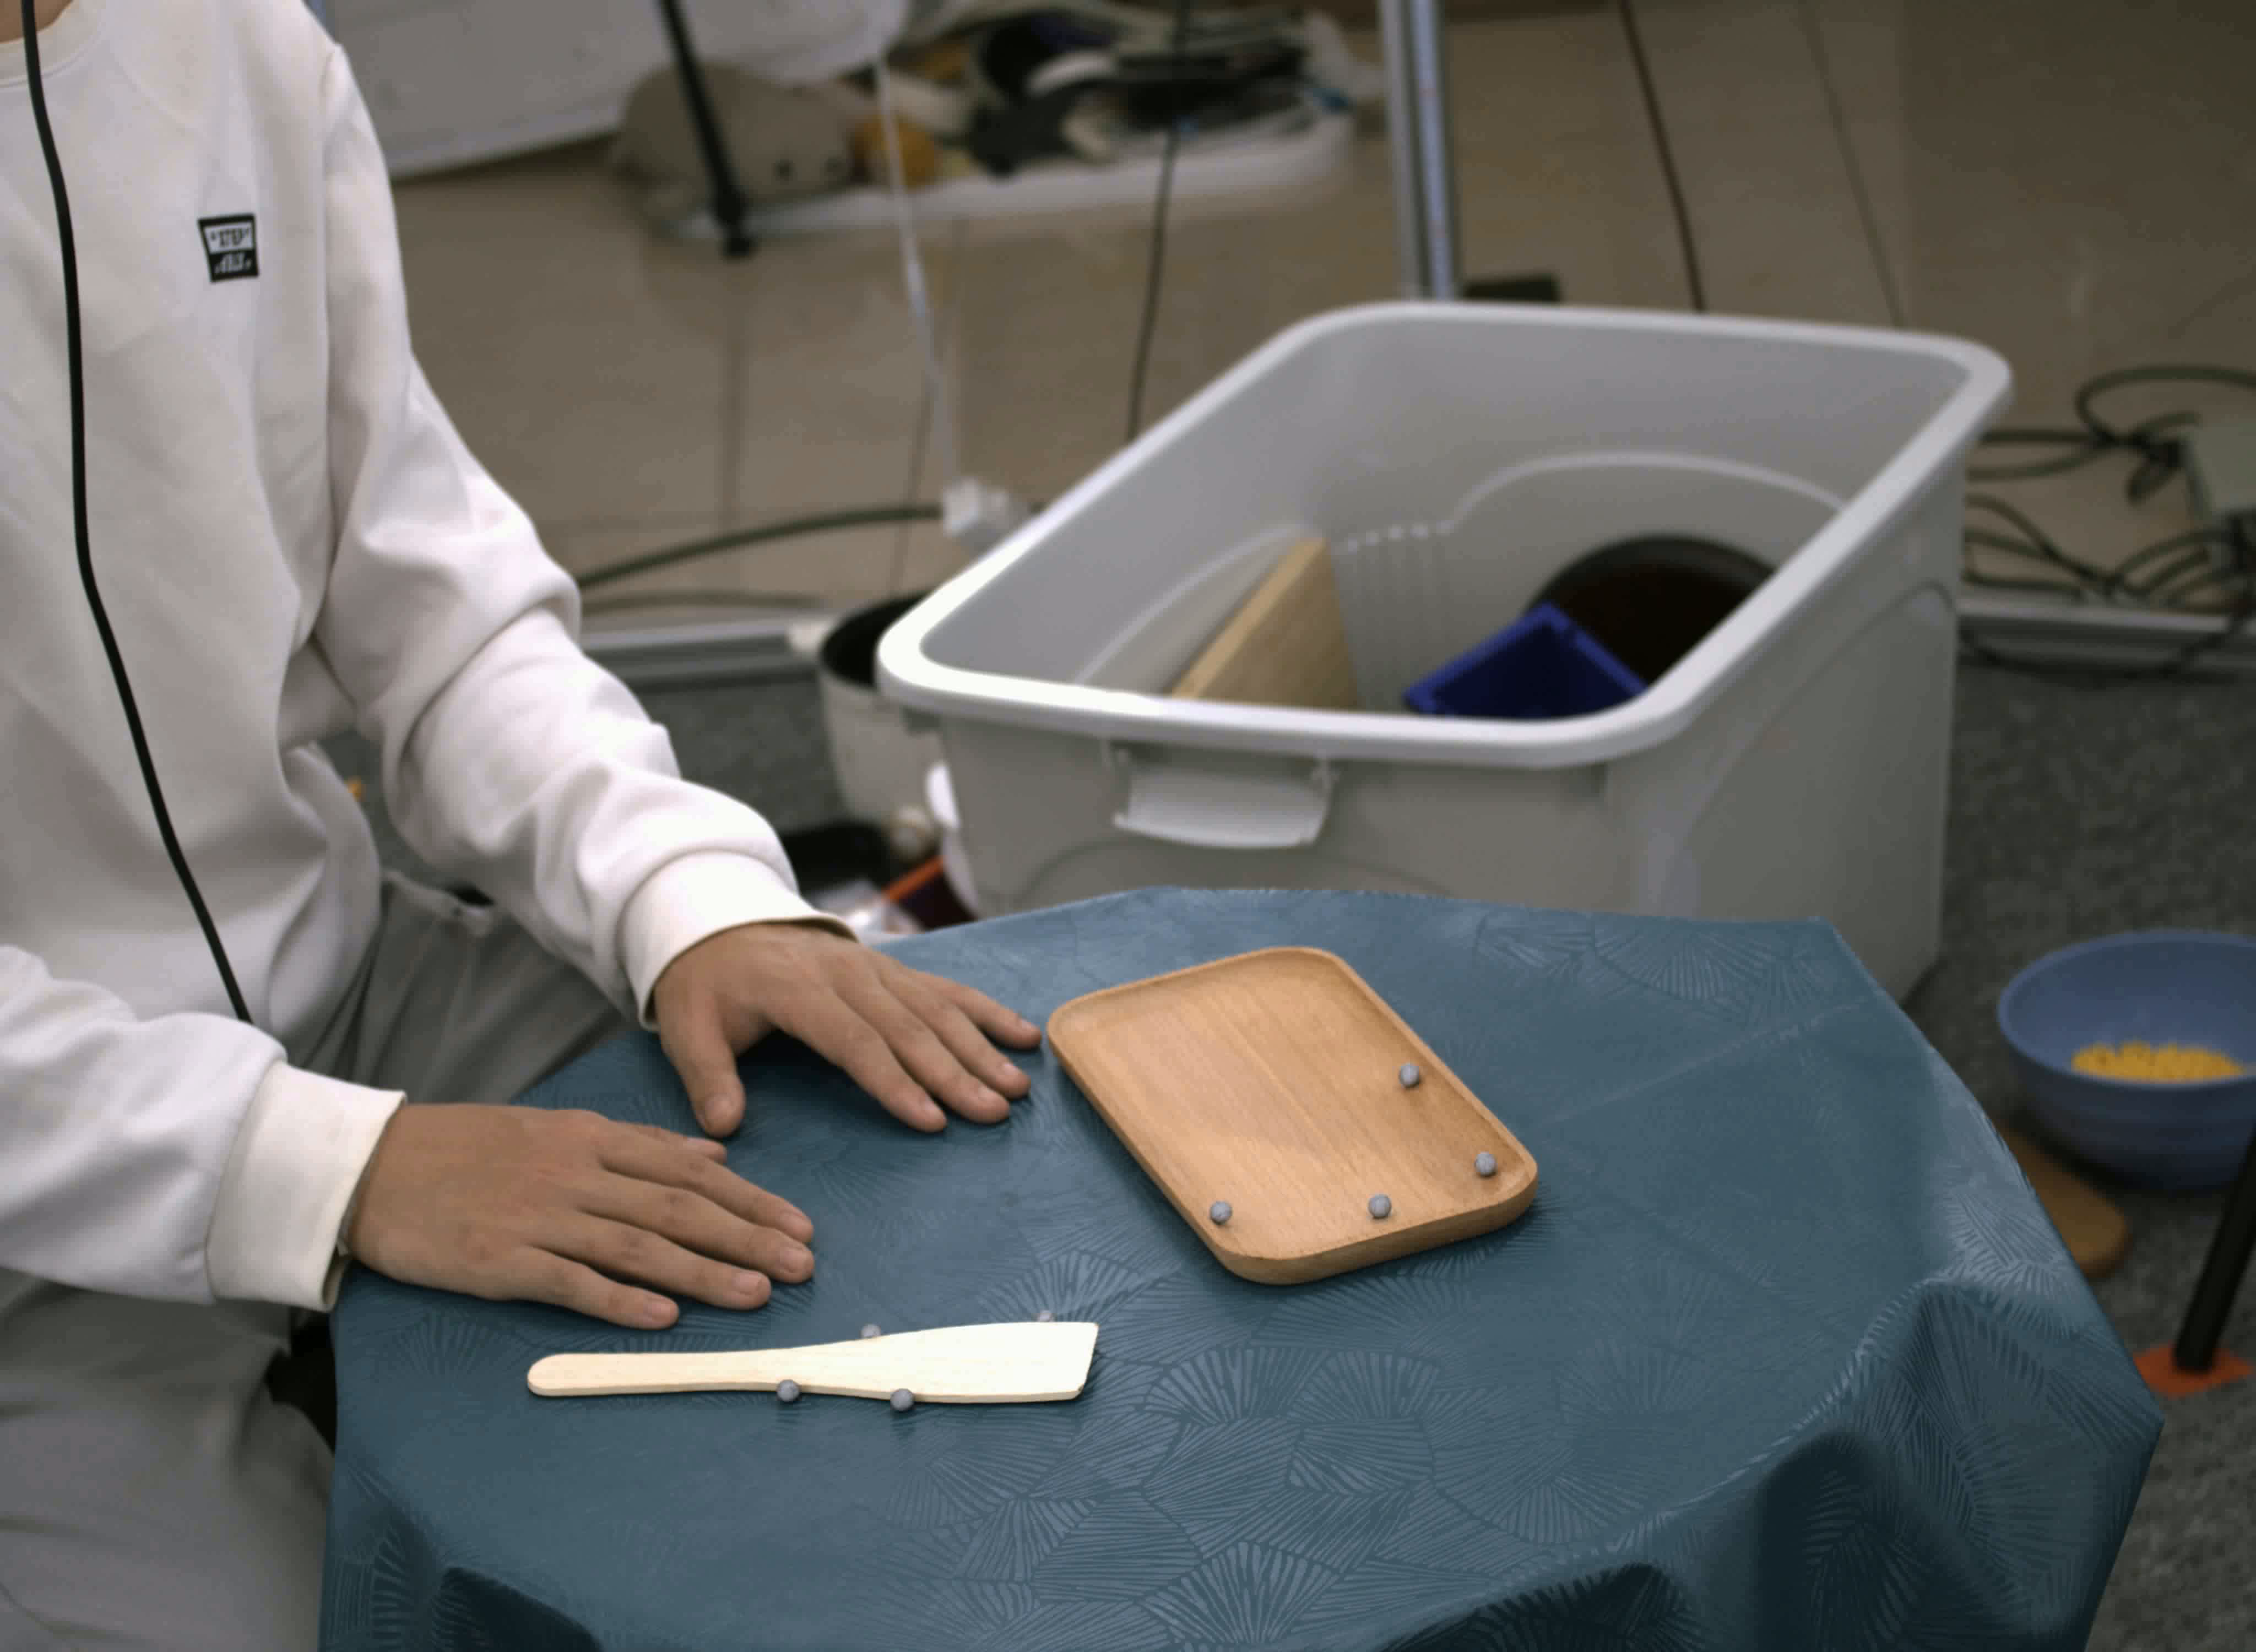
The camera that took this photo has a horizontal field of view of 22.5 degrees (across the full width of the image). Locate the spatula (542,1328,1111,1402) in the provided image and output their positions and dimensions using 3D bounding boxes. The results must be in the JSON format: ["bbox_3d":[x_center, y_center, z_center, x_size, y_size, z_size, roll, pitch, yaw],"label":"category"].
[{"bbox_3d":[-0.111,0.194,2.045,0.207,0.005,0.050,-1,24,10],"label":"spatula"}]

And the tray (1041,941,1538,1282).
[{"bbox_3d":[0.059,0.107,2.178,0.130,0.023,0.247,-11,24,-16],"label":"tray"}]
